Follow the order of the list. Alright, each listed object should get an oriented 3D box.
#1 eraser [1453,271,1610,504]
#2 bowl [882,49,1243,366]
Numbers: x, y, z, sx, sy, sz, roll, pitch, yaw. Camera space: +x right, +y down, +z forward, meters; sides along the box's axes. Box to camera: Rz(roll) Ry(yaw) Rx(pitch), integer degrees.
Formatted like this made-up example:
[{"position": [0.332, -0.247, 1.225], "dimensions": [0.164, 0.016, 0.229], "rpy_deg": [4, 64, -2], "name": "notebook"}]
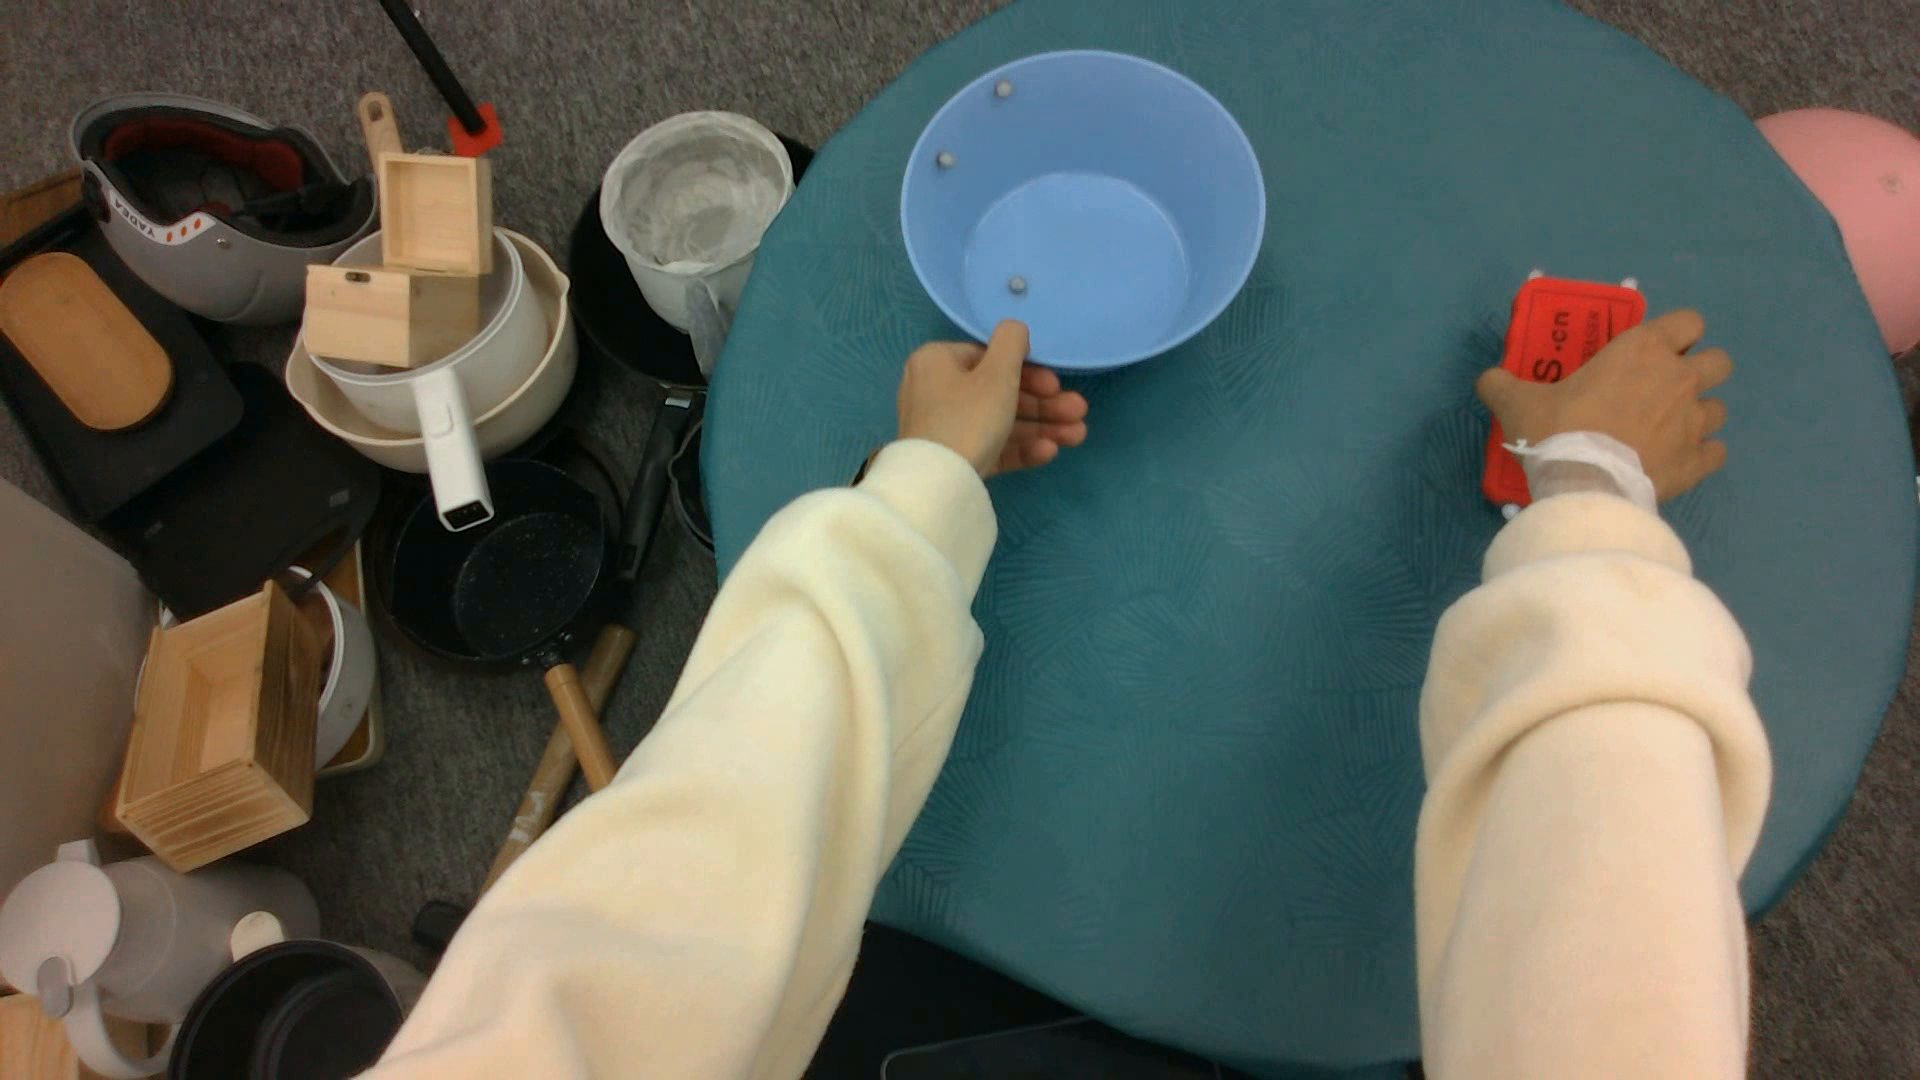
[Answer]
[{"position": [0.278, -0.074, 0.671], "dimensions": [0.059, 0.023, 0.108], "rpy_deg": [9, 86, 10], "name": "eraser"}, {"position": [0.050, -0.155, 0.695], "dimensions": [0.176, 0.070, 0.176], "rpy_deg": [0, 70, 1], "name": "bowl"}]
